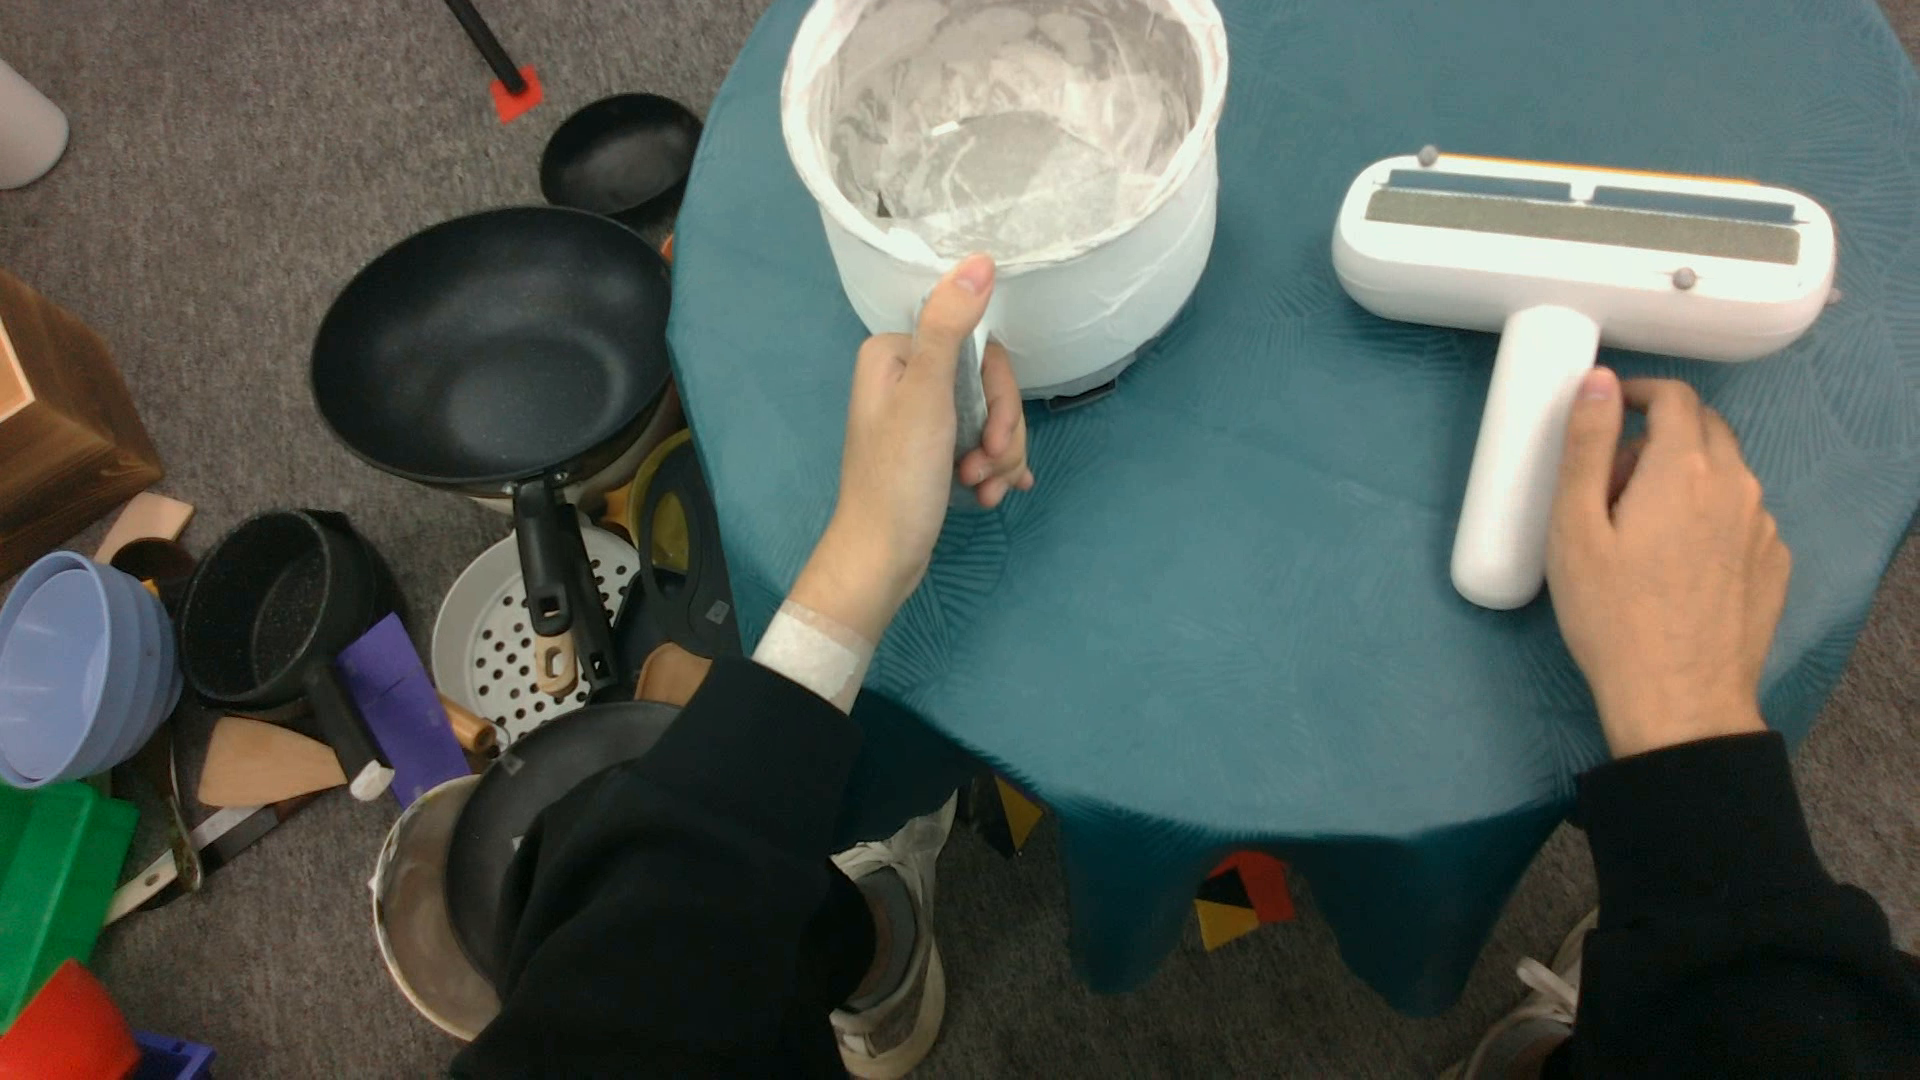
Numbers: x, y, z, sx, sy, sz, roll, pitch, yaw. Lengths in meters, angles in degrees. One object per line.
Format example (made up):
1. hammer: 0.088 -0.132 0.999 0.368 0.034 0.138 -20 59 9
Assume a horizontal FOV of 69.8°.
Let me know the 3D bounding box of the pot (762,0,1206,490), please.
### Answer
1. pot: 0.011 -0.144 0.594 0.178 0.136 0.234 8 70 12

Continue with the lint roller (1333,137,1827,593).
1. lint roller: 0.238 -0.072 0.577 0.193 0.074 0.193 17 75 19
